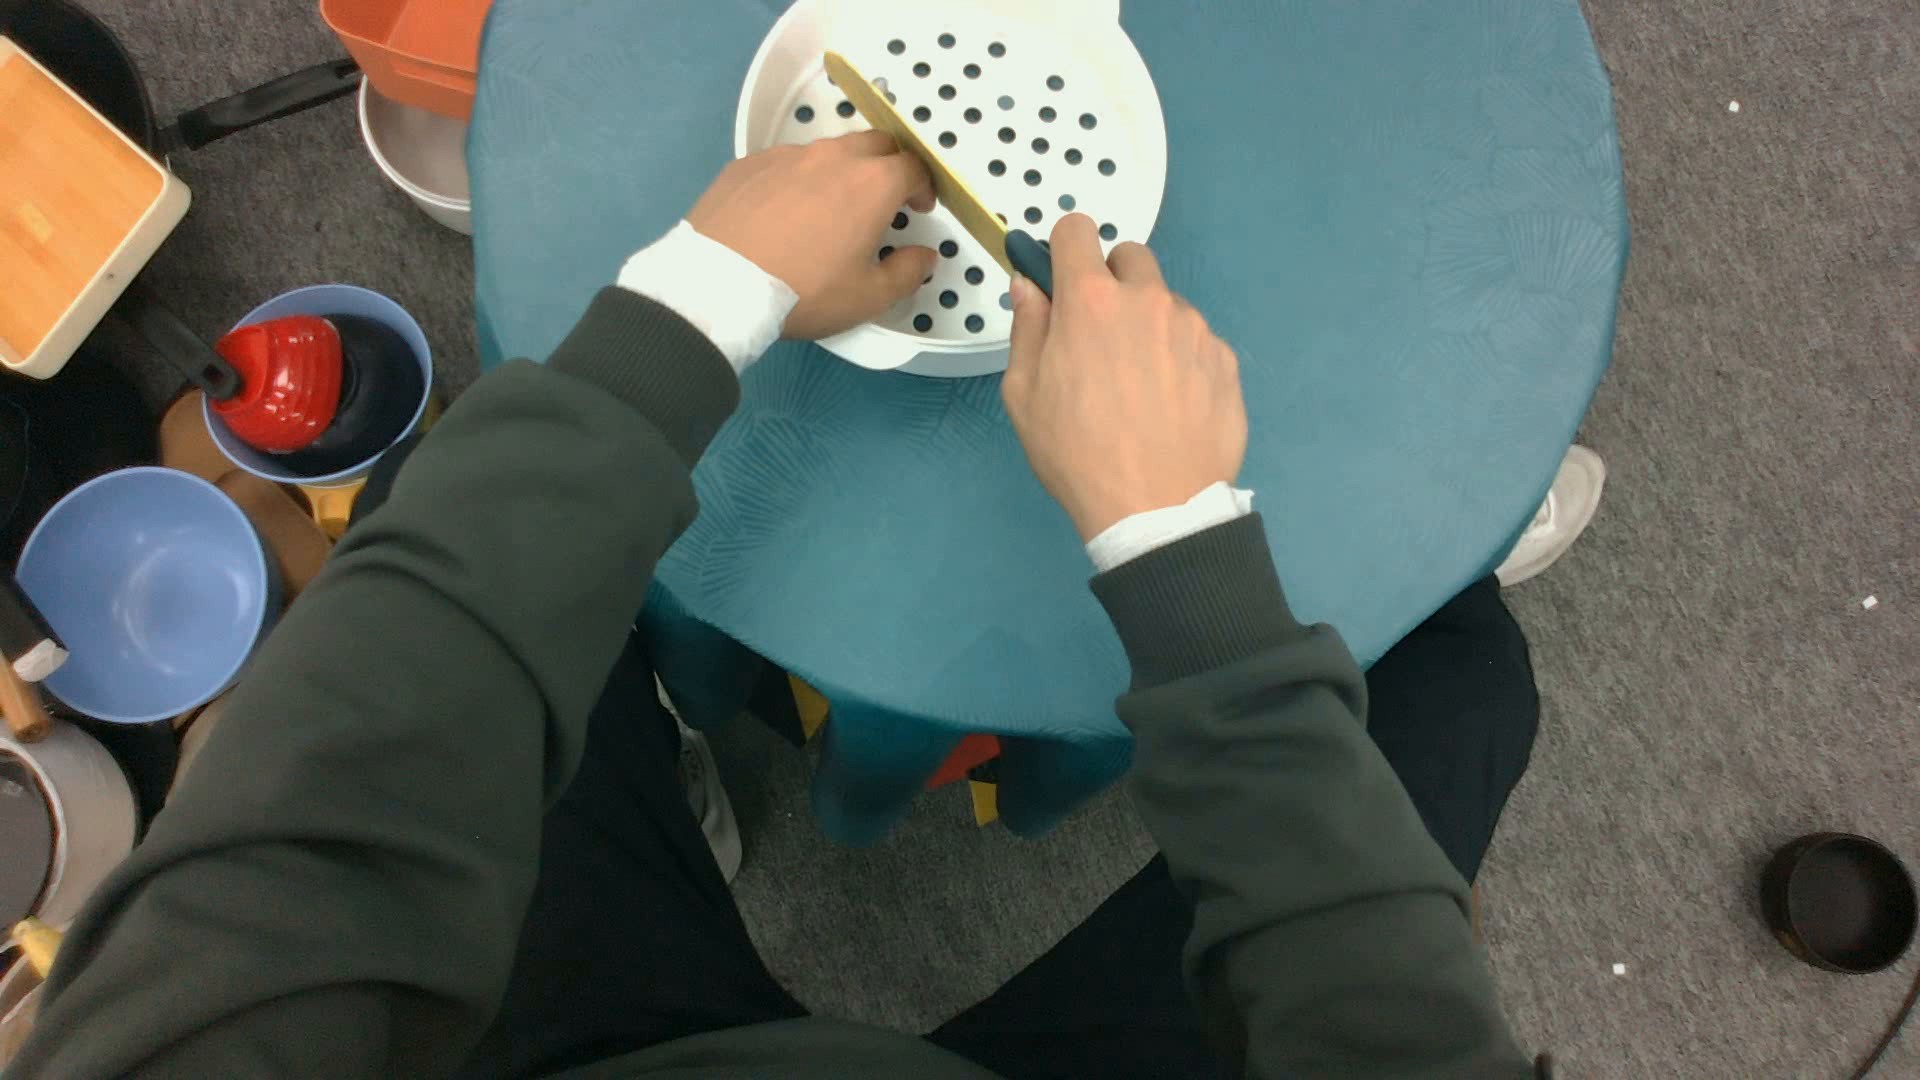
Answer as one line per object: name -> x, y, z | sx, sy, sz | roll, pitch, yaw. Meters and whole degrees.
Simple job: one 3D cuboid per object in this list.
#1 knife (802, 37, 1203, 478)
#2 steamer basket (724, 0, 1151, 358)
knife -> 0.011, -0.134, 0.620 | 0.027, 0.081, 0.290 | -40, 71, 3
steamer basket -> -0.011, -0.189, 0.675 | 0.202, 0.069, 0.231 | 30, 80, 2
